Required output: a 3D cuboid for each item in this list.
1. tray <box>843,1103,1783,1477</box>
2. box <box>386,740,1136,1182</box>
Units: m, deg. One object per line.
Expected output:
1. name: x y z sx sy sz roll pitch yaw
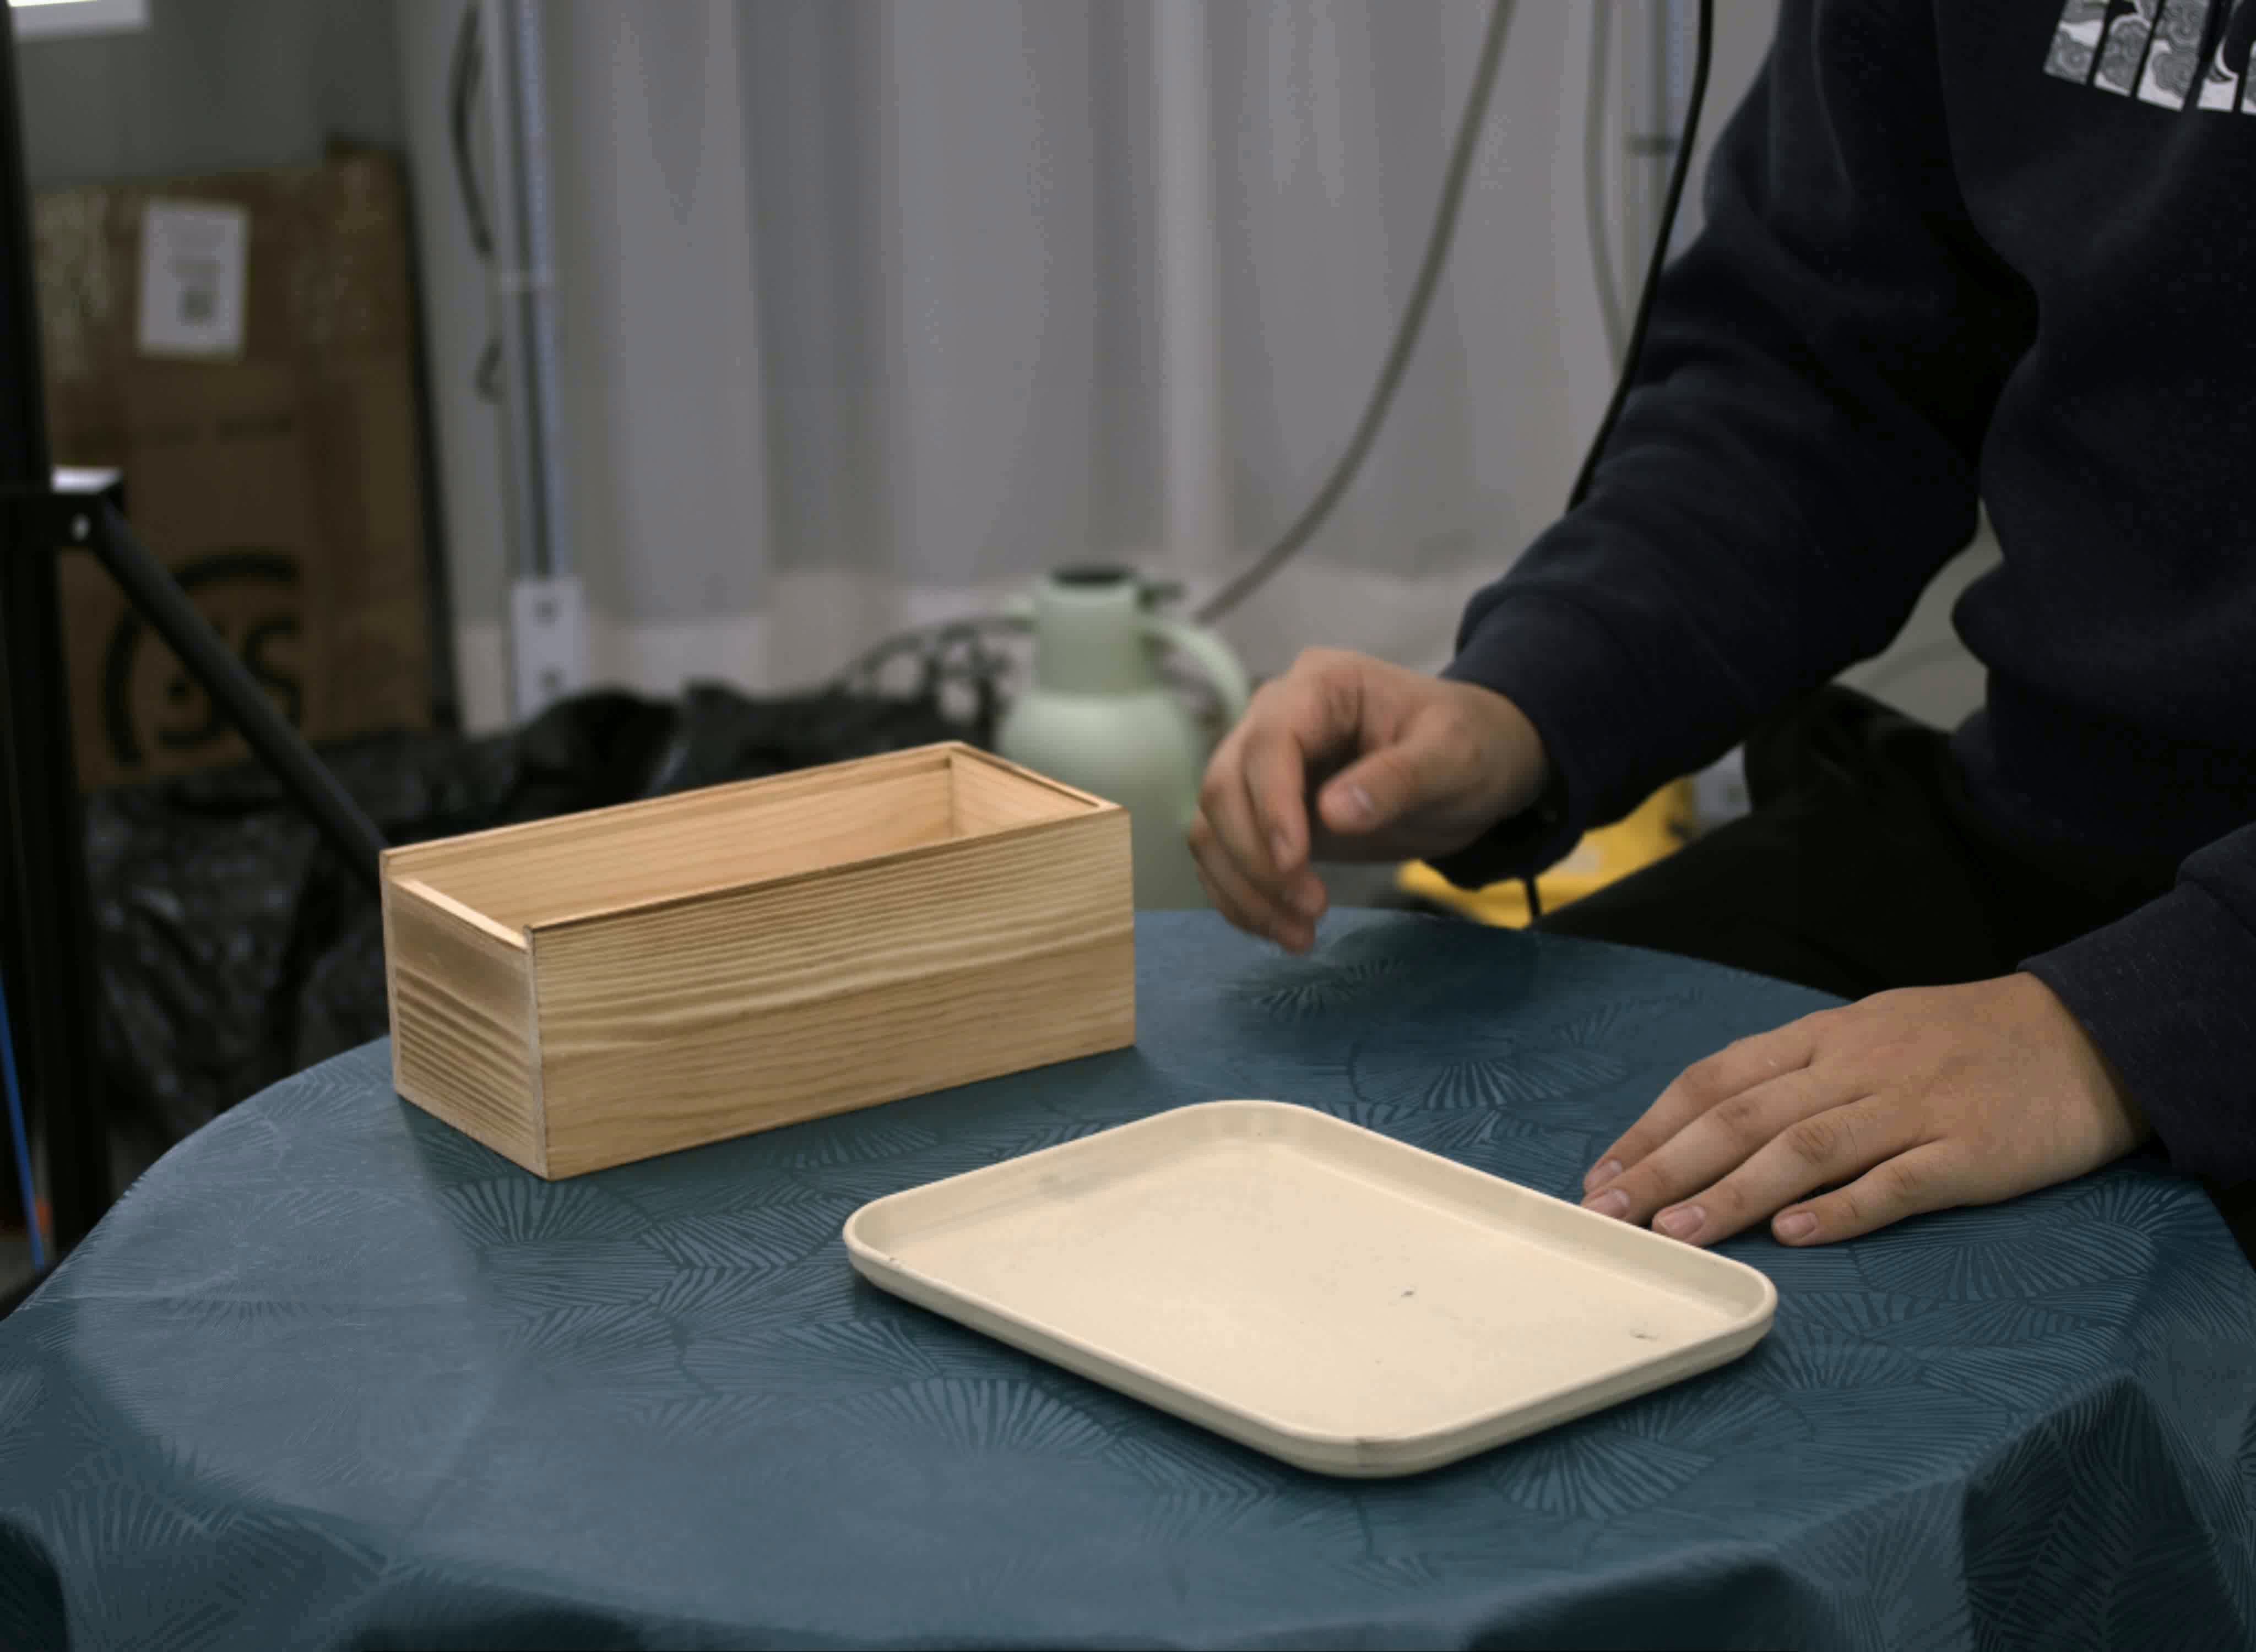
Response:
1. tray: 0.048 0.126 1.456 0.167 0.017 0.245 -14 19 -36
2. box: -0.113 0.039 1.671 0.207 0.080 0.110 -12 19 -30
